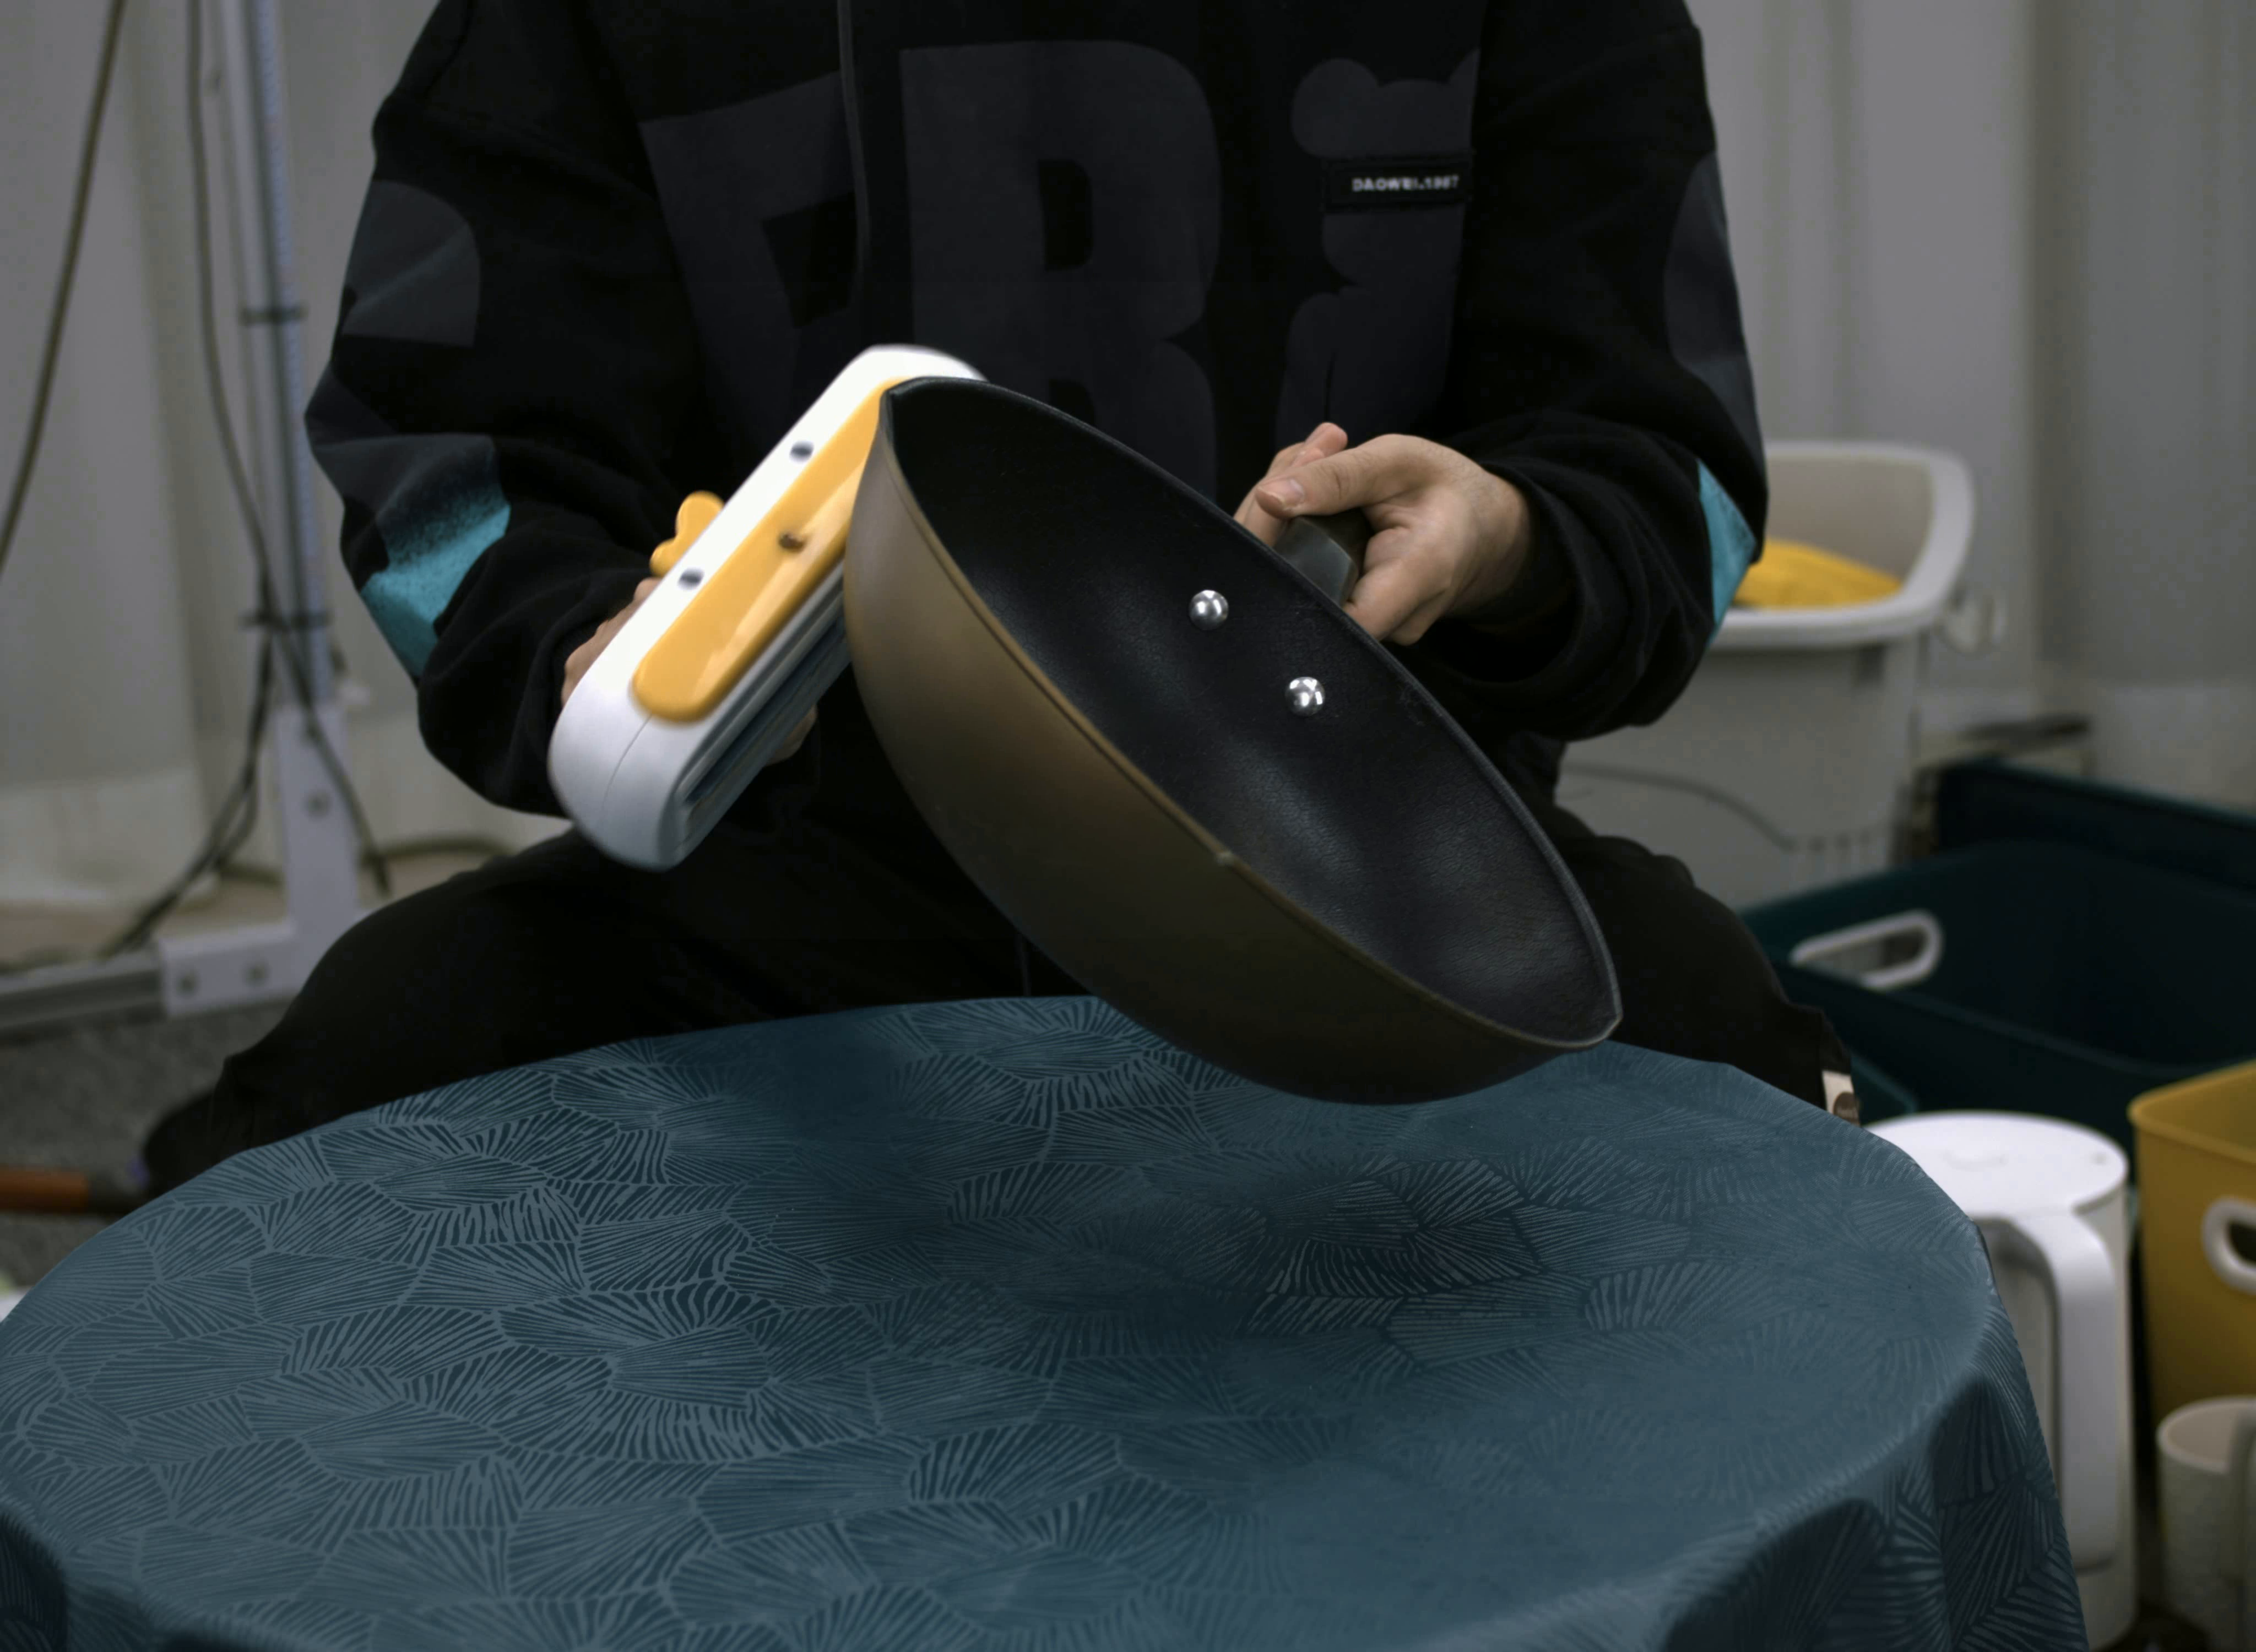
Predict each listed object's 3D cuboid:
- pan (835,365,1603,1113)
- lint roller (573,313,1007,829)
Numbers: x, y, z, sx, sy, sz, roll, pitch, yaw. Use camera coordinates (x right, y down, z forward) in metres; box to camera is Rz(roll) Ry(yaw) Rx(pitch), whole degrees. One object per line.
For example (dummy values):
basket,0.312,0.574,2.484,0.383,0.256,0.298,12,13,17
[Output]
pan,0.025,-0.036,1.709,0.287,0.086,0.466,42,18,-4
lint roller,-0.121,-0.055,1.728,0.074,0.190,0.194,30,58,3
